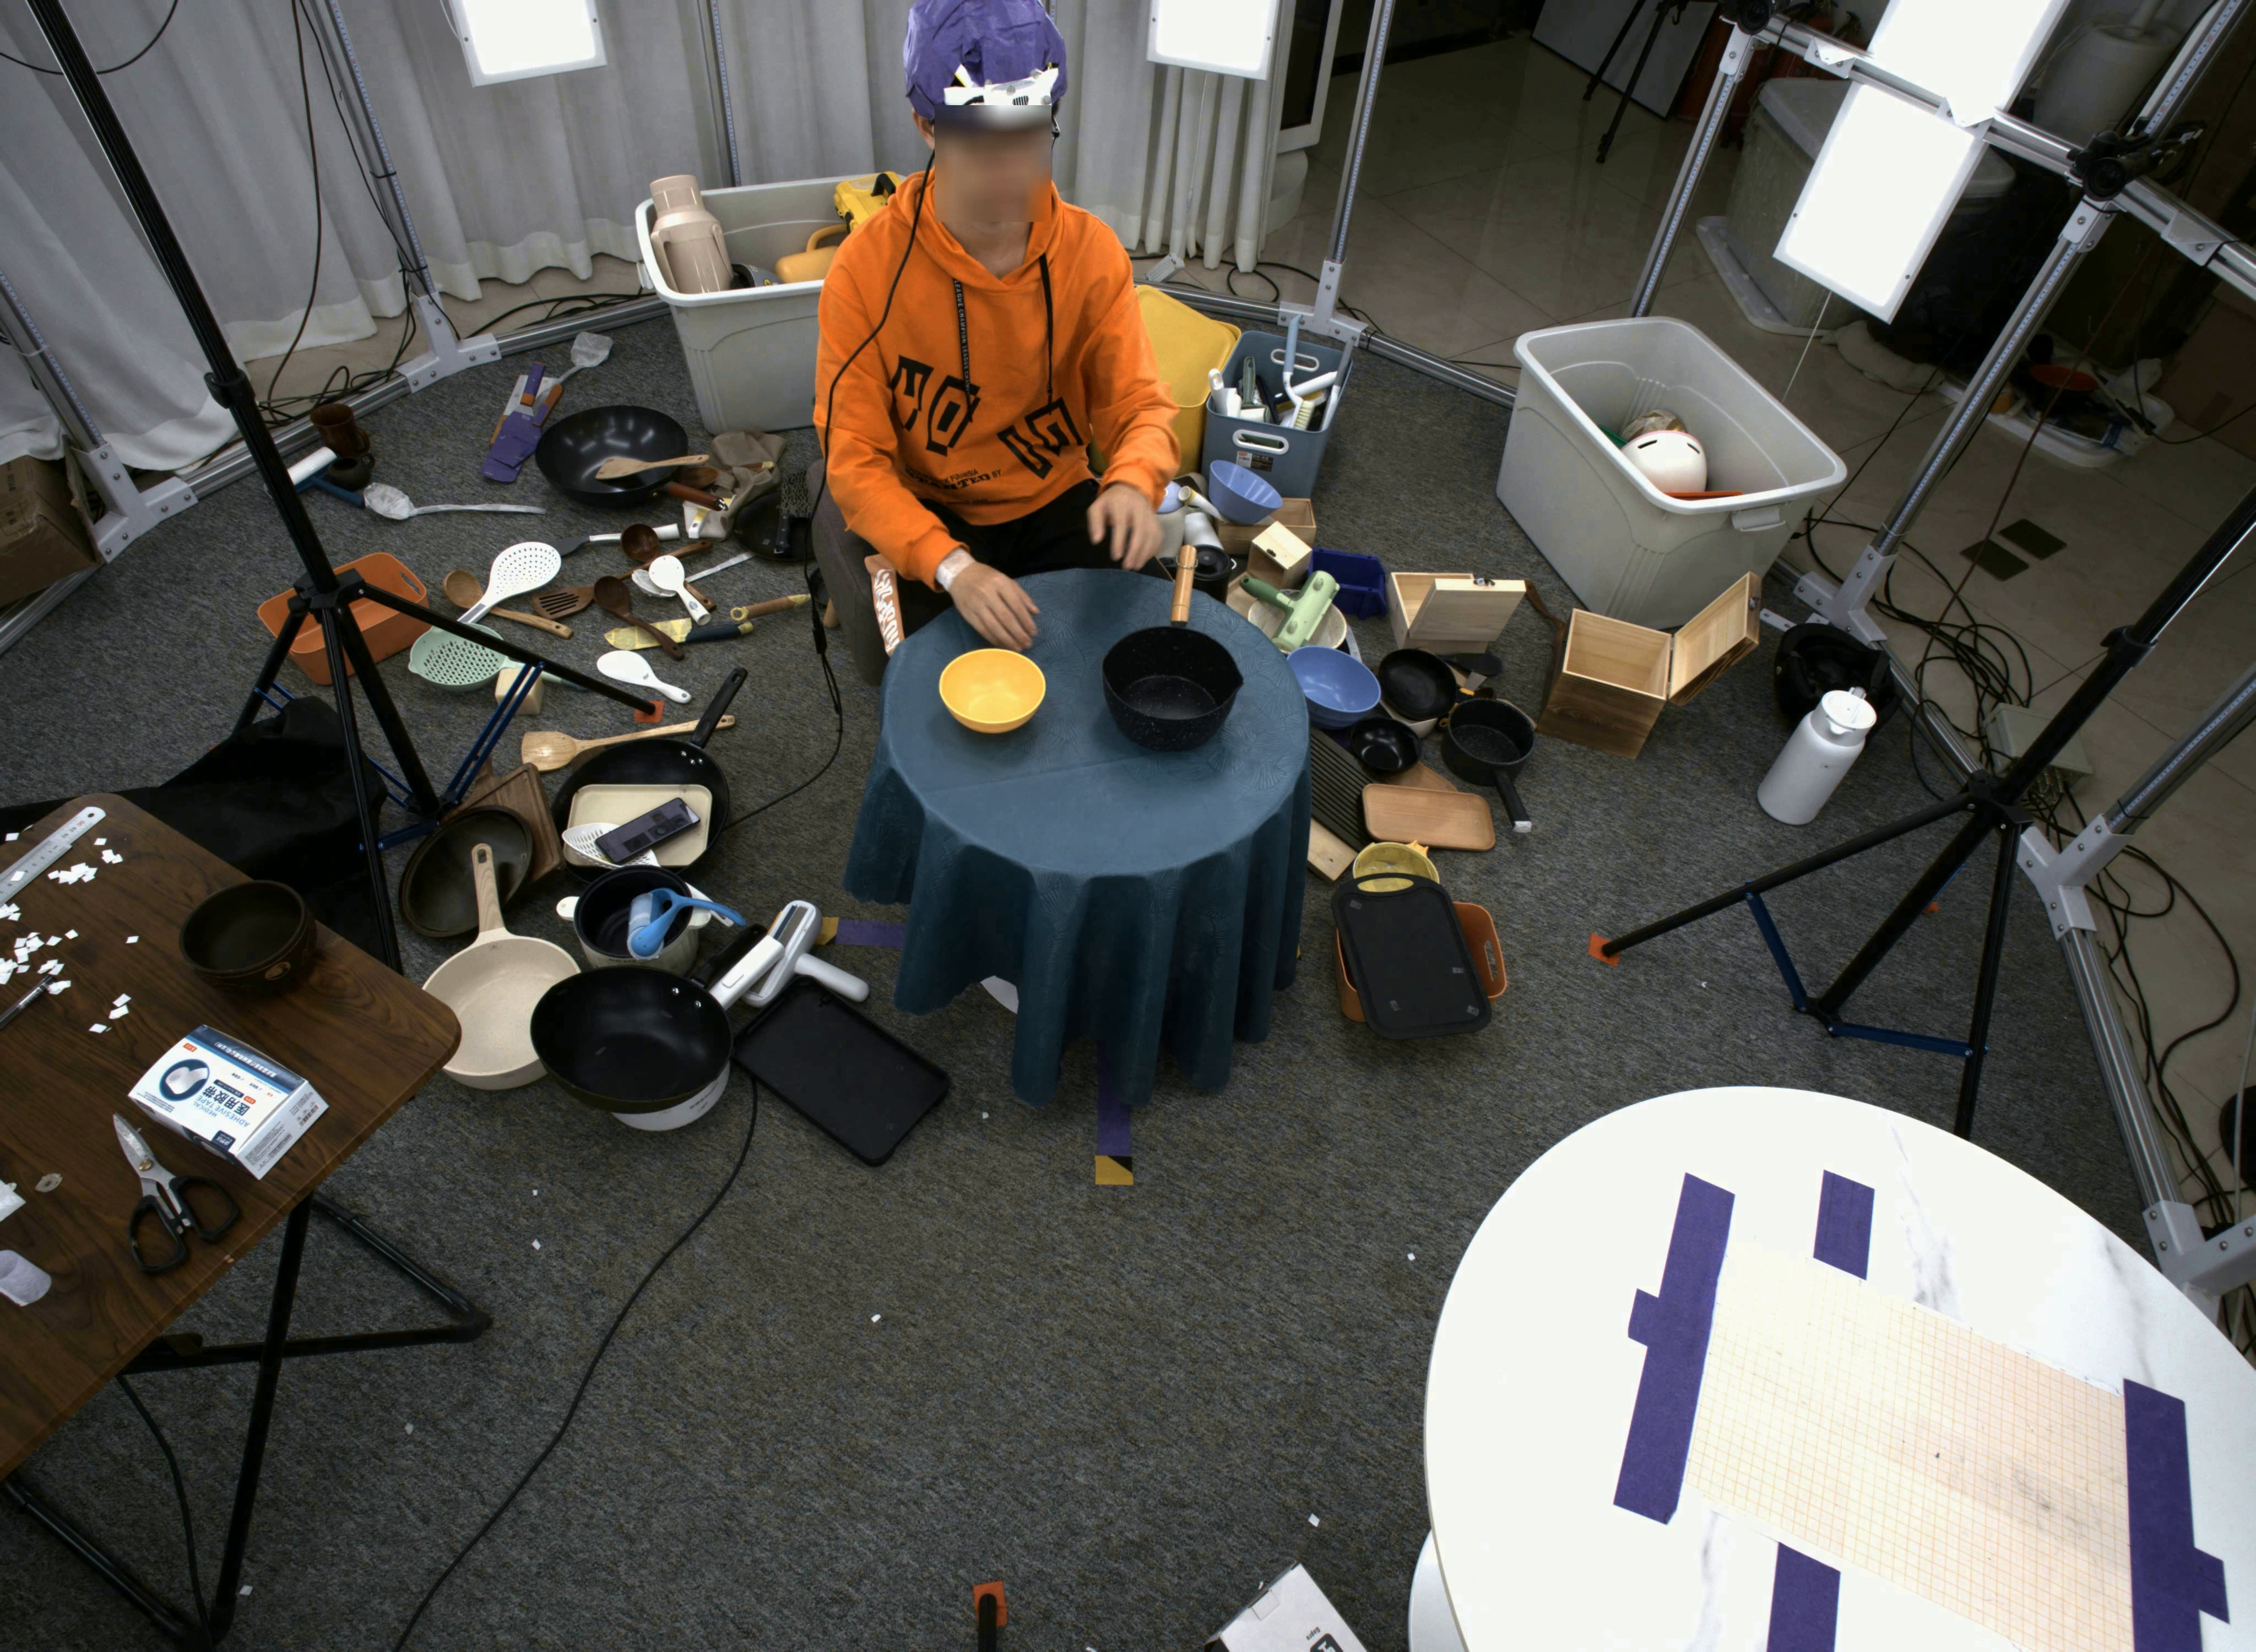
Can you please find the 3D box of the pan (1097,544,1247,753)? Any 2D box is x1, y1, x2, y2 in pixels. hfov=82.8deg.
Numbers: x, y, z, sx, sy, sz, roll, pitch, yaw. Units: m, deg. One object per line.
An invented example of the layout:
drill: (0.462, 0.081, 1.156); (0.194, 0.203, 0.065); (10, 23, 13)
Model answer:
pan: (0.066, -0.253, 1.823); (0.207, 0.105, 0.351); (6, 50, 3)

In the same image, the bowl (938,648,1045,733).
bowl: (-0.188, -0.175, 1.770); (0.145, 0.058, 0.149); (3, 49, -4)
